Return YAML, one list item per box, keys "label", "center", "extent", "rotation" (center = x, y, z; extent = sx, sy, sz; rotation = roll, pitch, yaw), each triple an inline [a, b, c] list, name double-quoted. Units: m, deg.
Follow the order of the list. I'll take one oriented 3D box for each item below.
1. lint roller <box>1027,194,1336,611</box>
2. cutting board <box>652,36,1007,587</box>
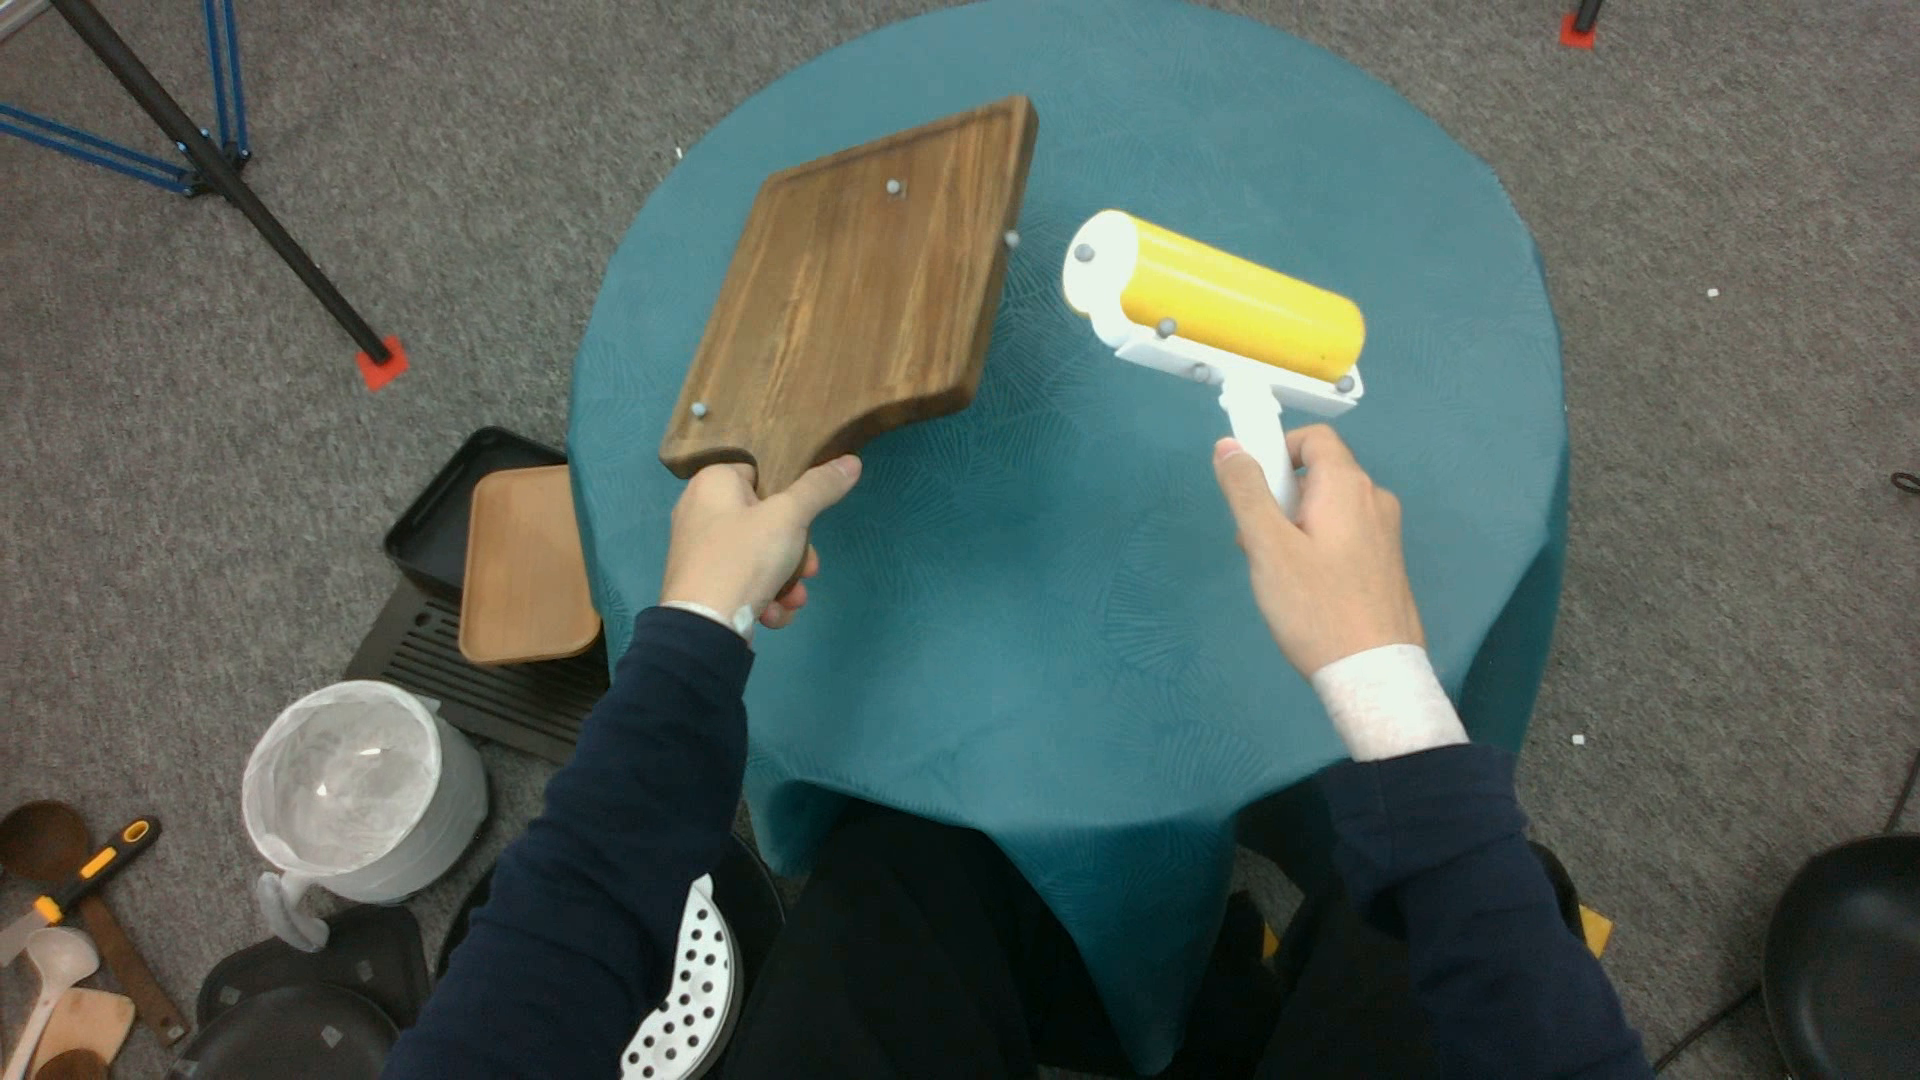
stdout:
- label: "lint roller"
  center: [0.129, -0.062, 0.612]
  extent: [0.174, 0.051, 0.192]
  rotation: [4, 53, -39]
- label: "cutting board"
  center: [-0.079, -0.124, 0.751]
  extent: [0.200, 0.023, 0.354]
  rotation: [-17, 47, 34]
